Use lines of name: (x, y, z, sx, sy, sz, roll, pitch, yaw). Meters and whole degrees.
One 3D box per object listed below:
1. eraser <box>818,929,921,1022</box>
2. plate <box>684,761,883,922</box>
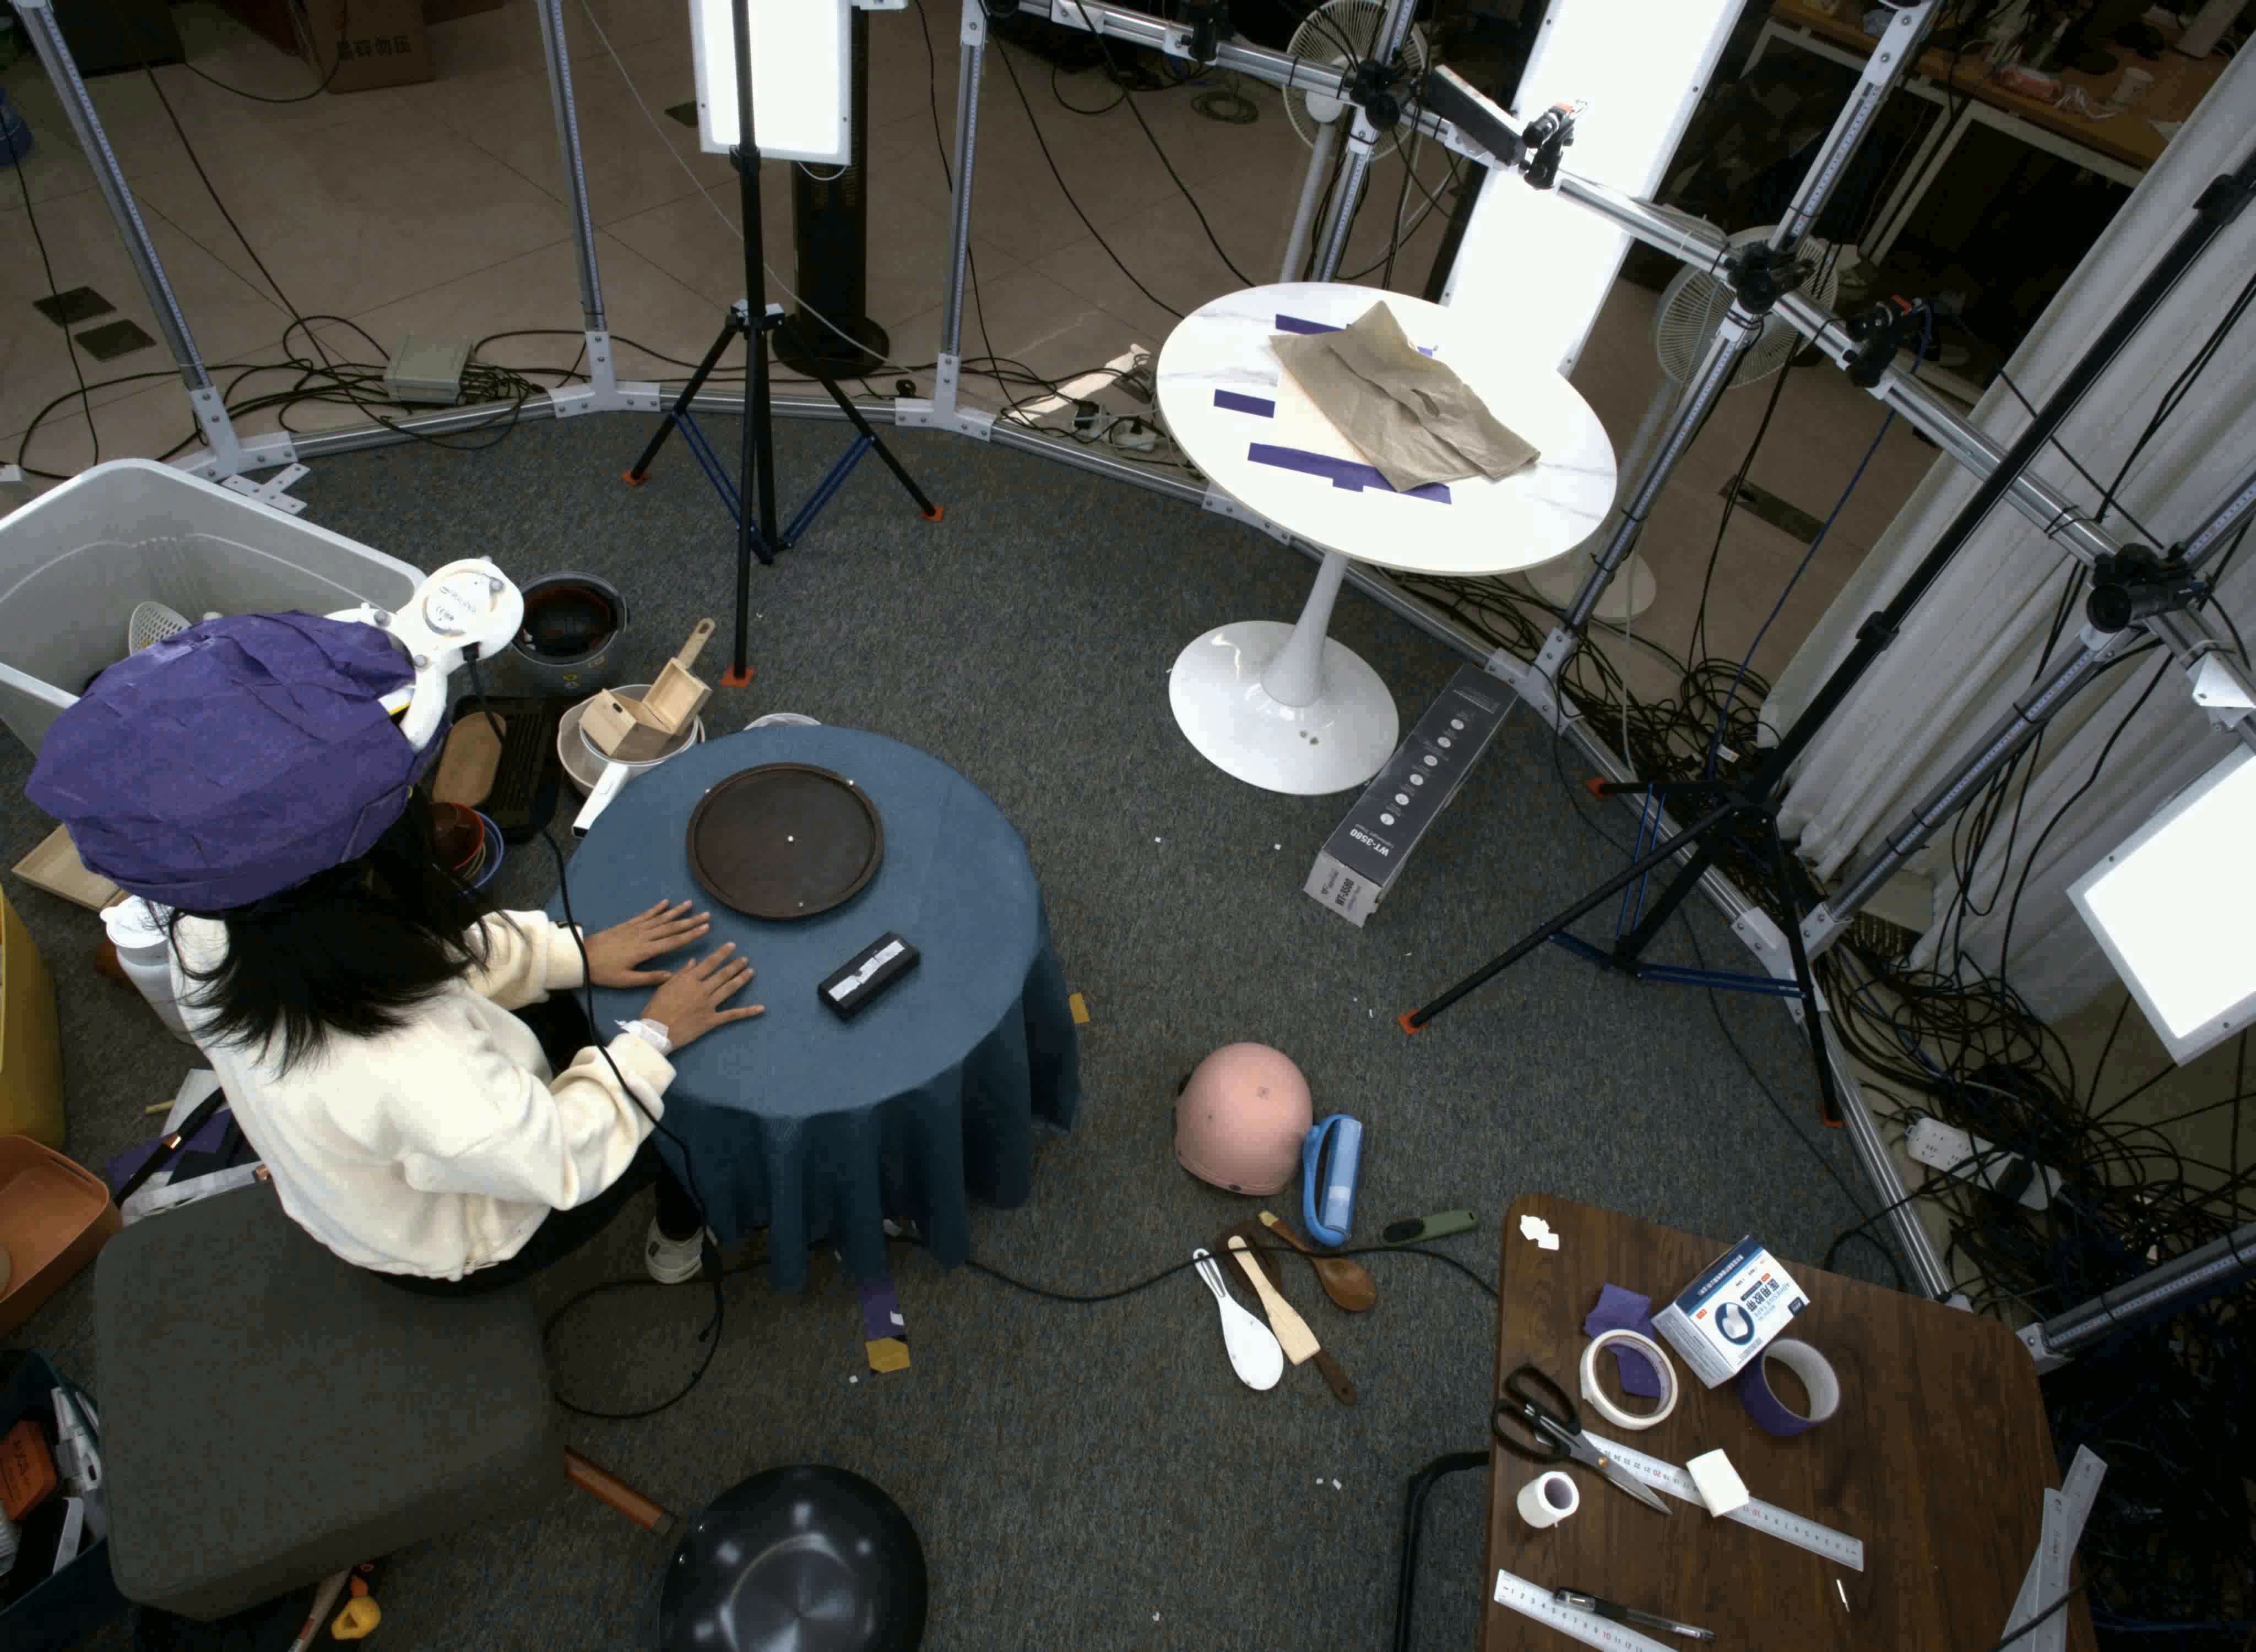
eraser: (-0.316, 0.180, 1.595, 0.052, 0.031, 0.125, 37, 55, 18)
plate: (-0.447, 0.018, 1.684, 0.254, 0.029, 0.250, 9, 51, -10)
